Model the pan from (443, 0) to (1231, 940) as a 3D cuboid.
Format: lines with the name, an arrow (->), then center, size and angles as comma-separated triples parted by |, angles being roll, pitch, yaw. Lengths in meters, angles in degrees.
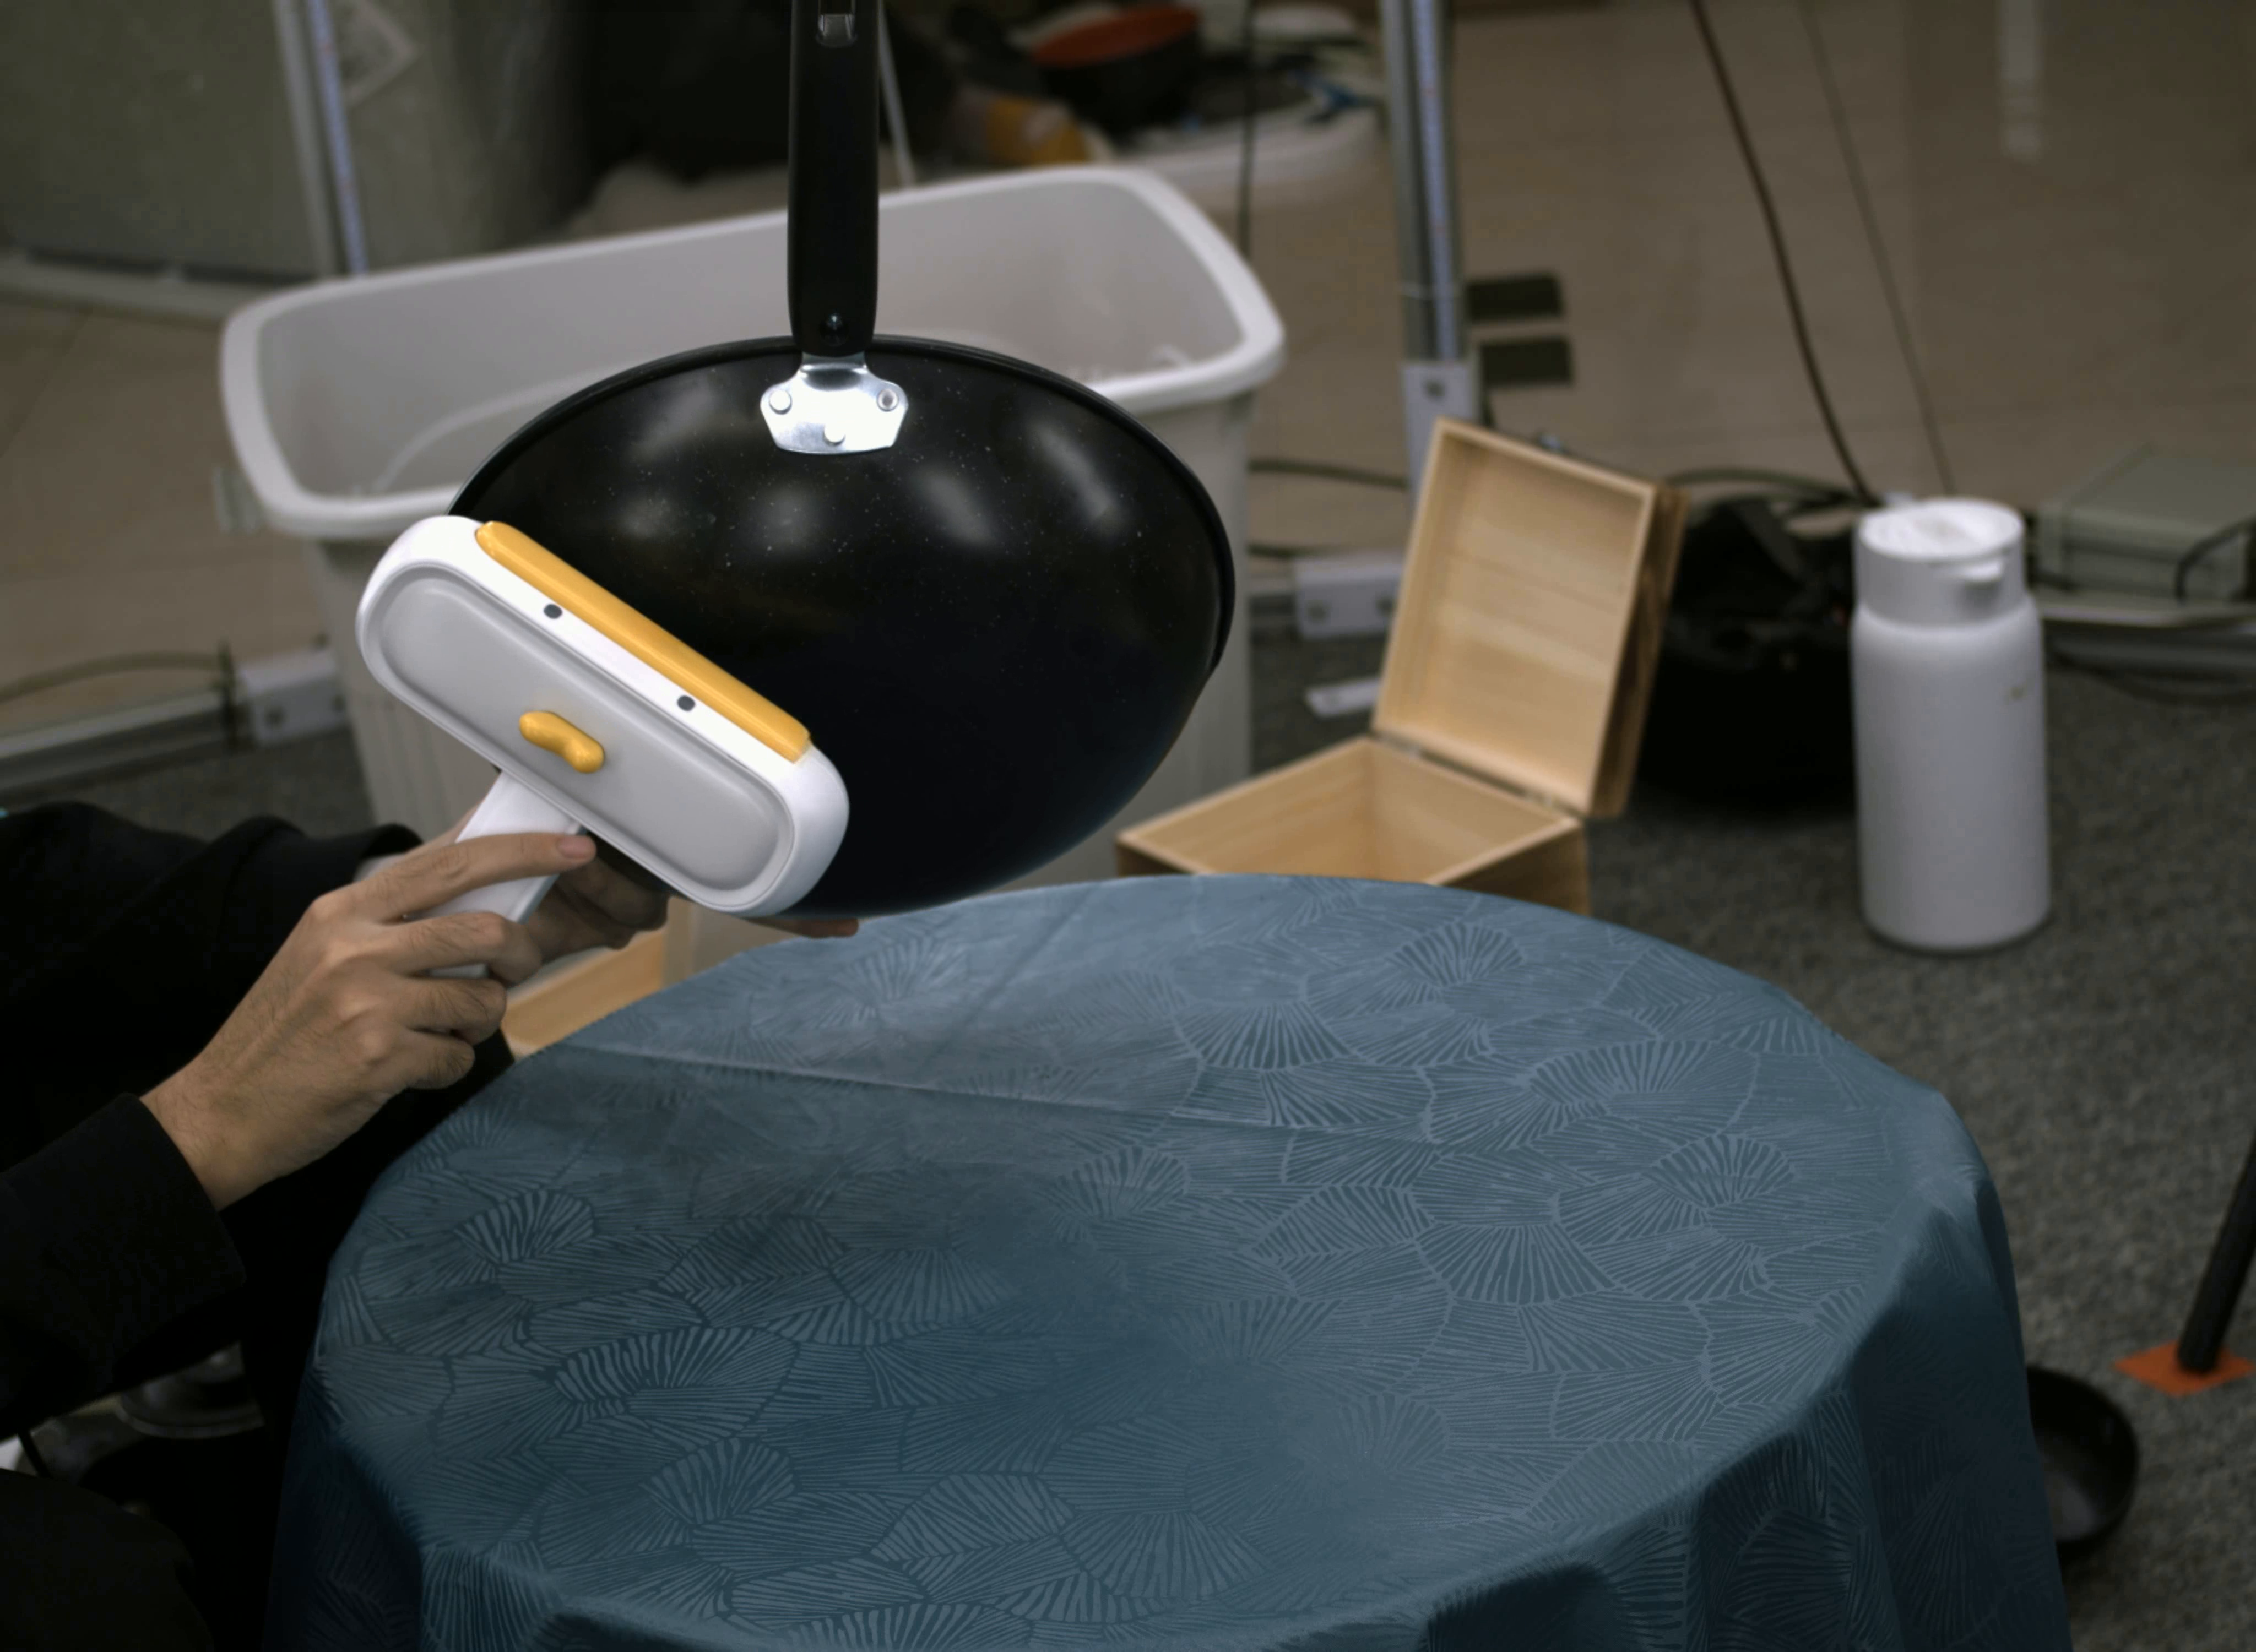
pan -> -0.109, -0.107, 2.065 | 0.310, 0.486, 0.110 | -2, 53, -5

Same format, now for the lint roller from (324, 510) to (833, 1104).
lint roller -> -0.223, 0.009, 2.015 | 0.193, 0.194, 0.073 | 29, 14, -2
